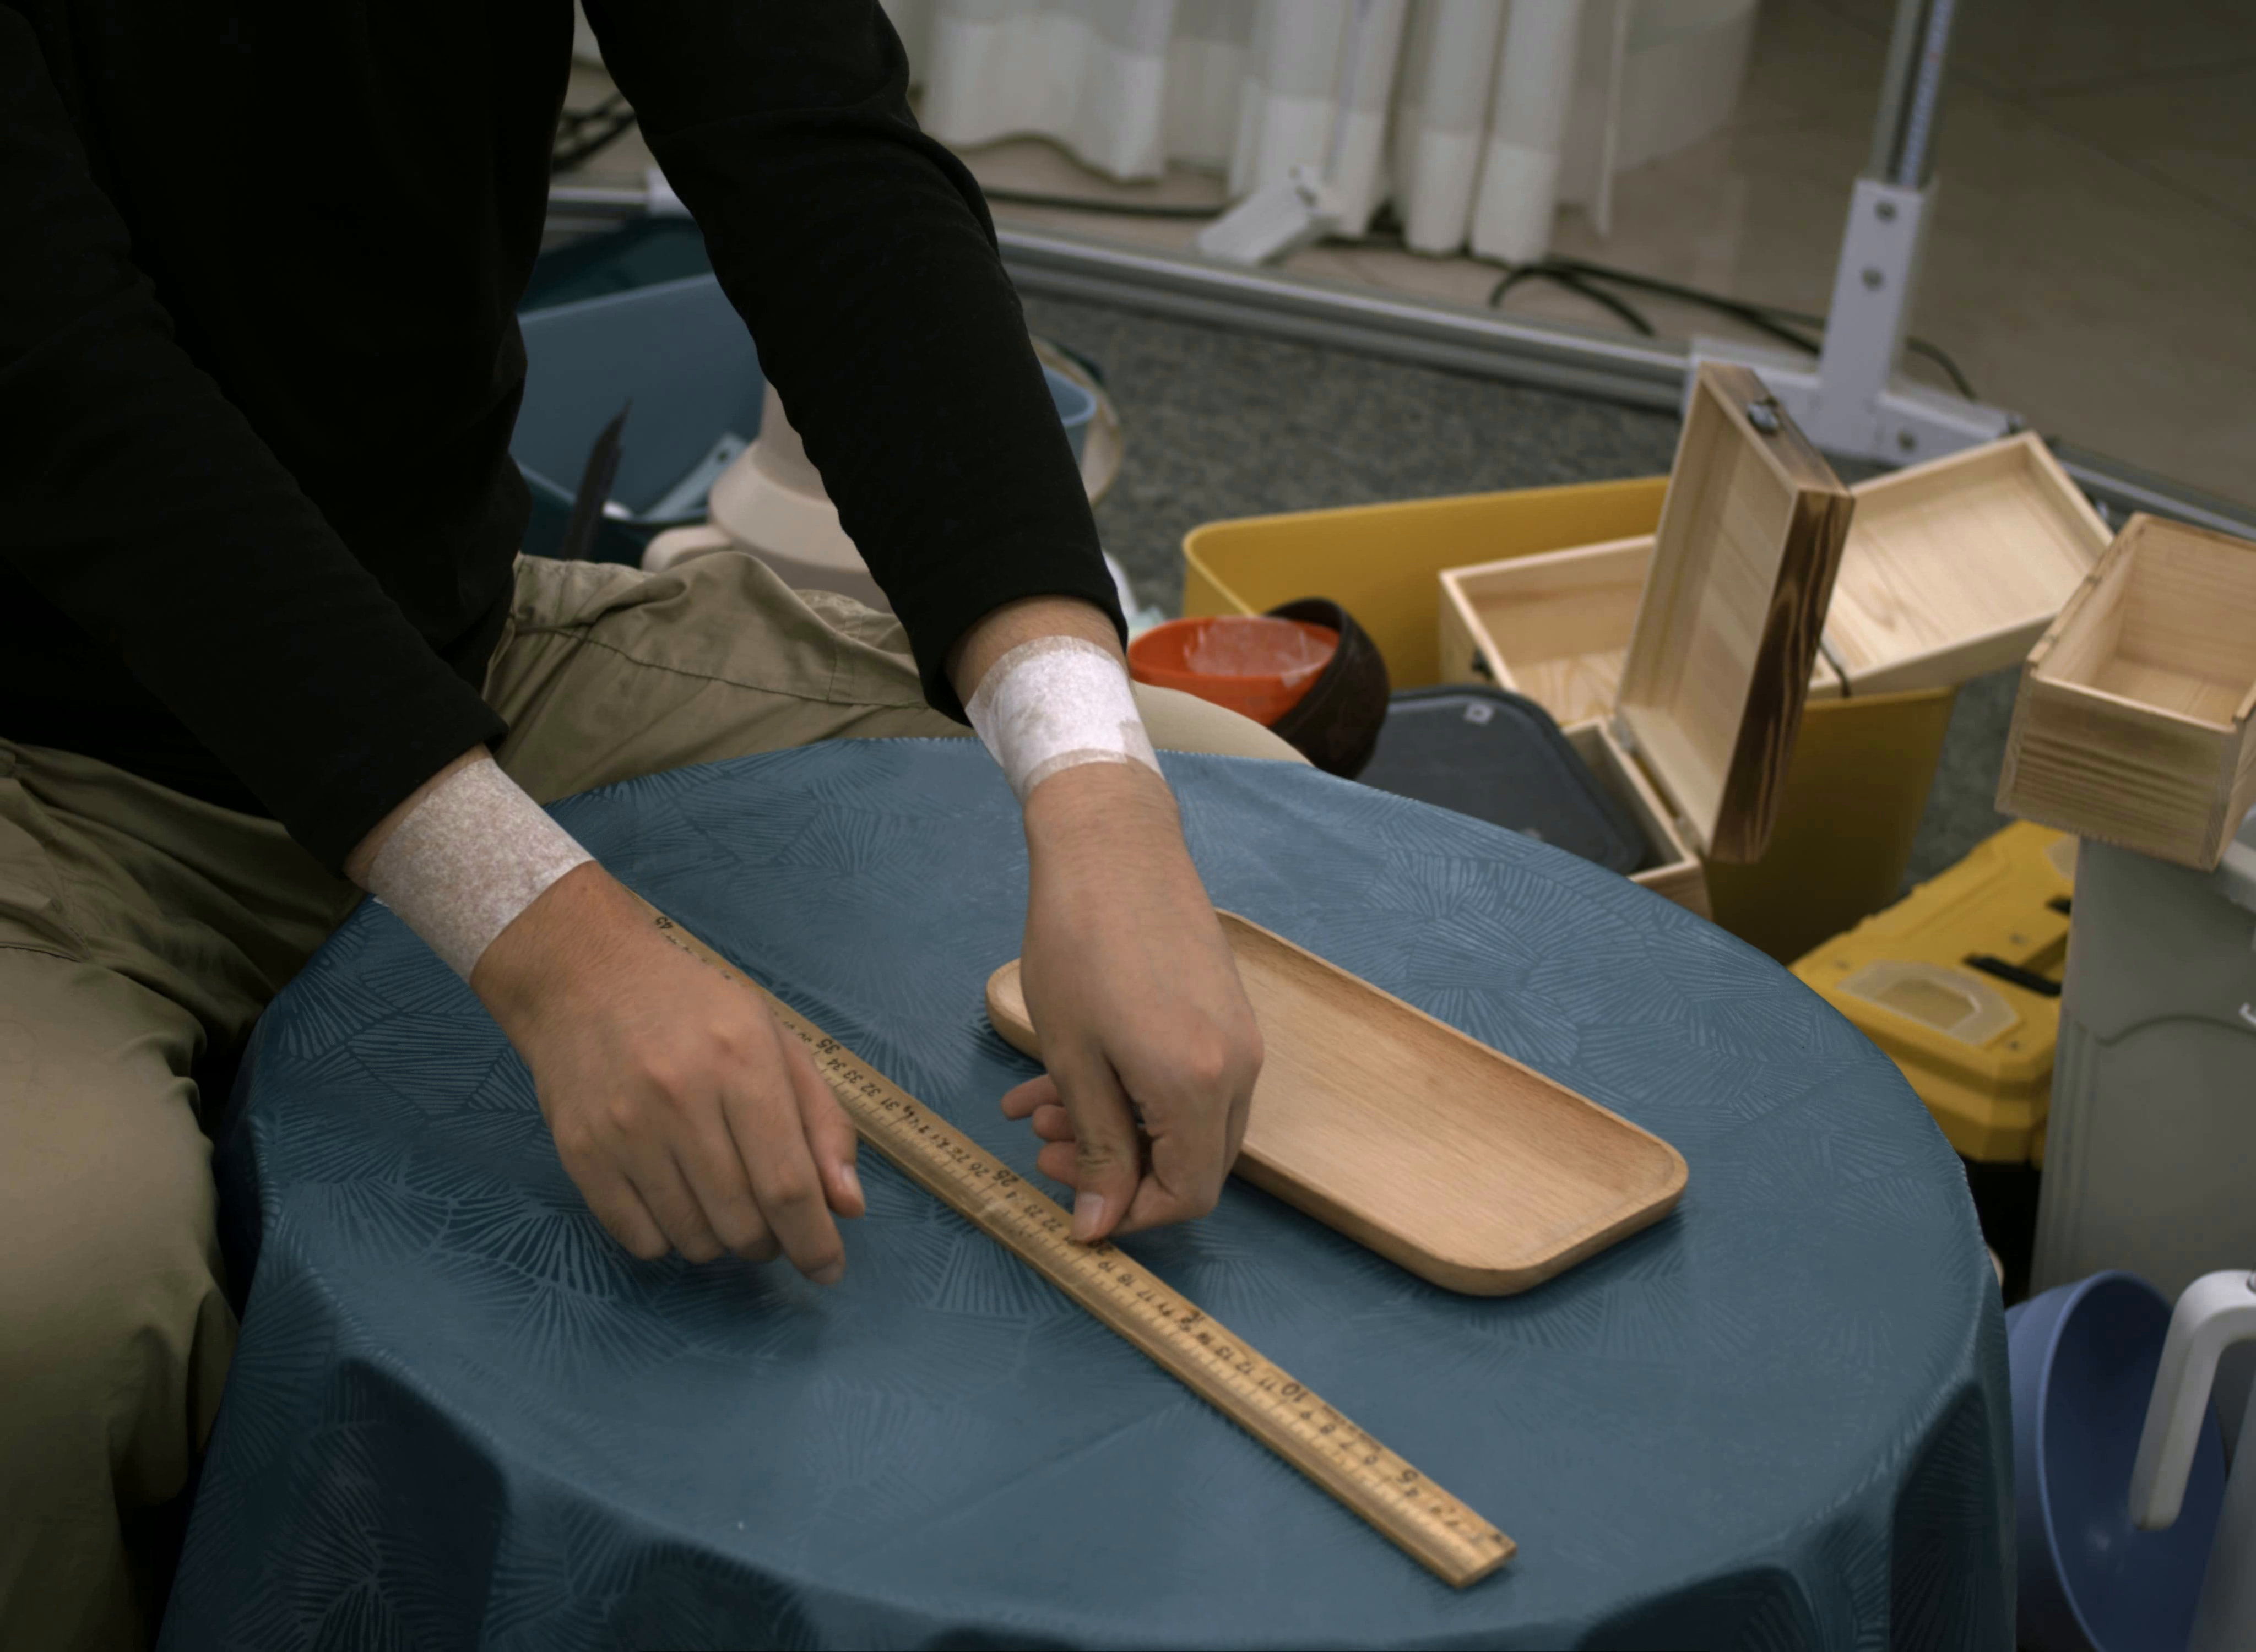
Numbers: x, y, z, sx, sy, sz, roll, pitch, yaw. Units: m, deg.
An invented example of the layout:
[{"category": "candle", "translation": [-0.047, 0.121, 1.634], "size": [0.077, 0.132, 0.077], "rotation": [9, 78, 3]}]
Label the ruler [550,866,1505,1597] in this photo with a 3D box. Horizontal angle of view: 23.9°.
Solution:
[{"category": "ruler", "translation": [-0.047, 0.123, 1.781], "size": [0.027, 0.006, 0.505], "rotation": [-24, 39, -30]}]

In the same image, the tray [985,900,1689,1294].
[{"category": "tray", "translation": [0.070, 0.092, 1.861], "size": [0.252, 0.023, 0.130], "rotation": [27, 31, 37]}]
